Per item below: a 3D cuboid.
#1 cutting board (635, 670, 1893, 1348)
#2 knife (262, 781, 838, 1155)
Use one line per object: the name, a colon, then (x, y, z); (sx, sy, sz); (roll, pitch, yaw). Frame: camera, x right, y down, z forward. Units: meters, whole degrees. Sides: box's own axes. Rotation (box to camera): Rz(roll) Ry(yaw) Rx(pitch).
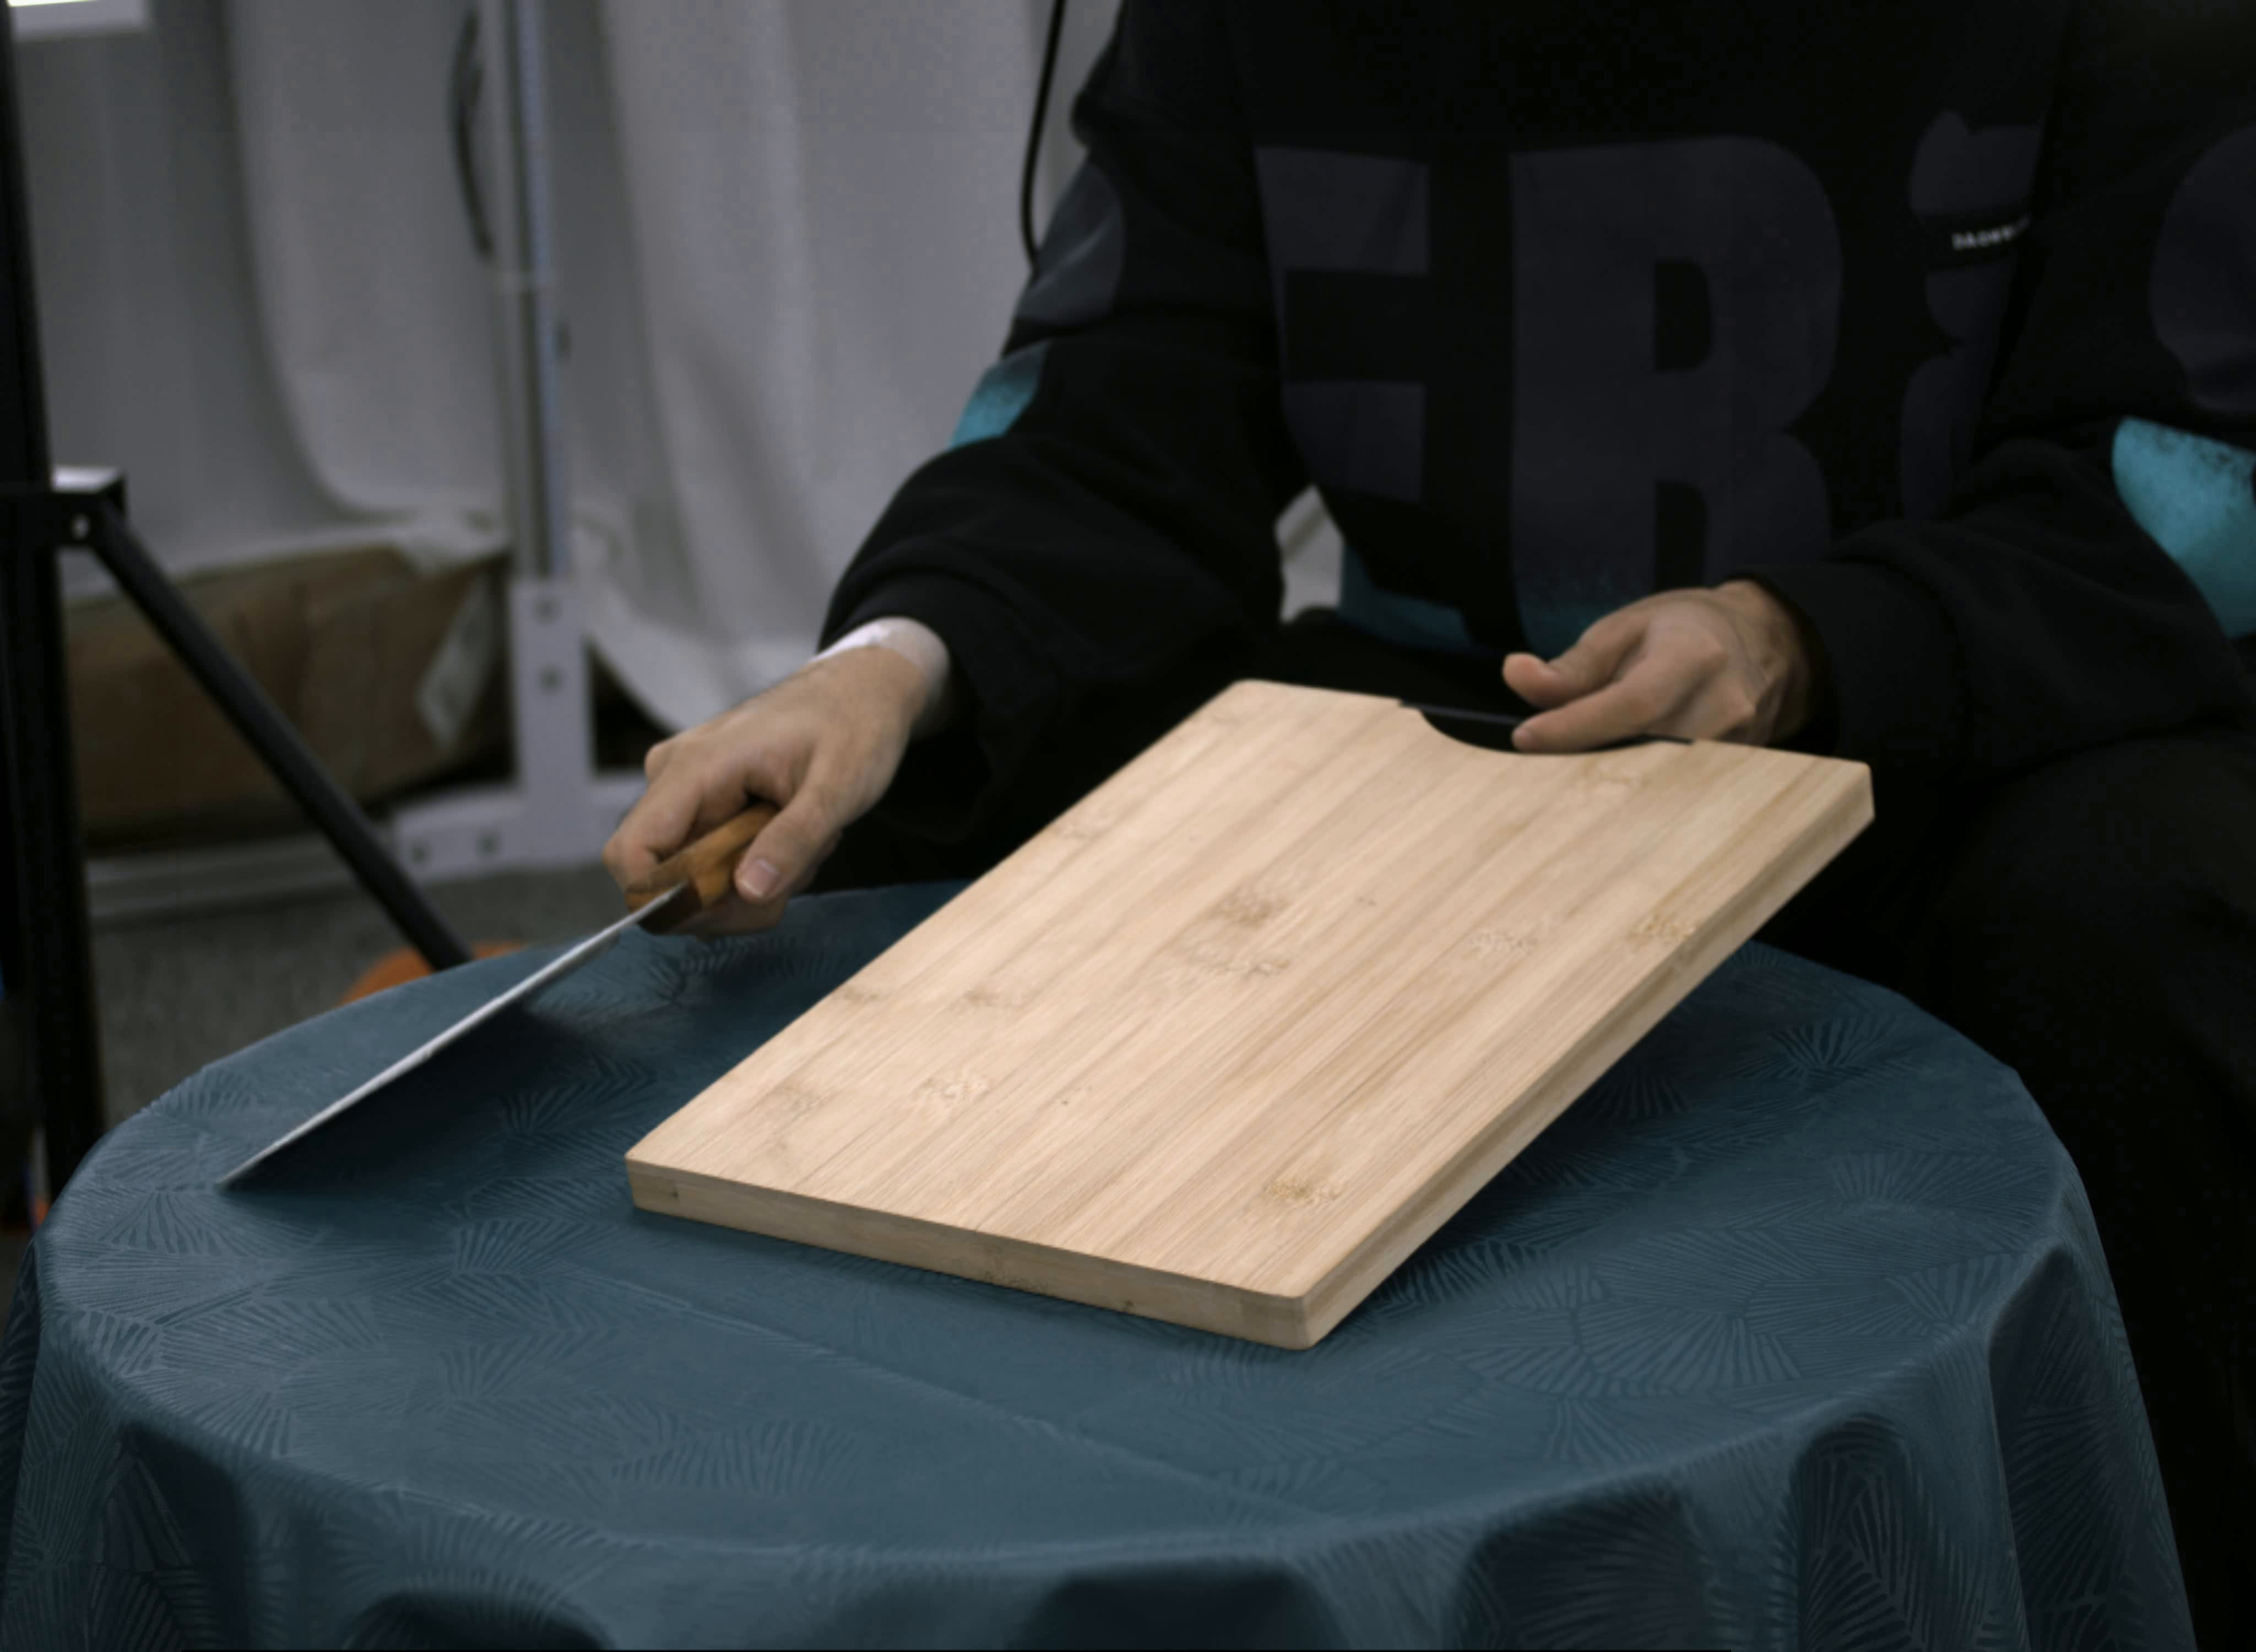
cutting board: (0.046, 0.045, 1.615); (0.256, 0.023, 0.343); (8, 31, 34)
knife: (-0.185, 0.047, 1.714); (0.094, 0.021, 0.302); (-29, 4, 27)
